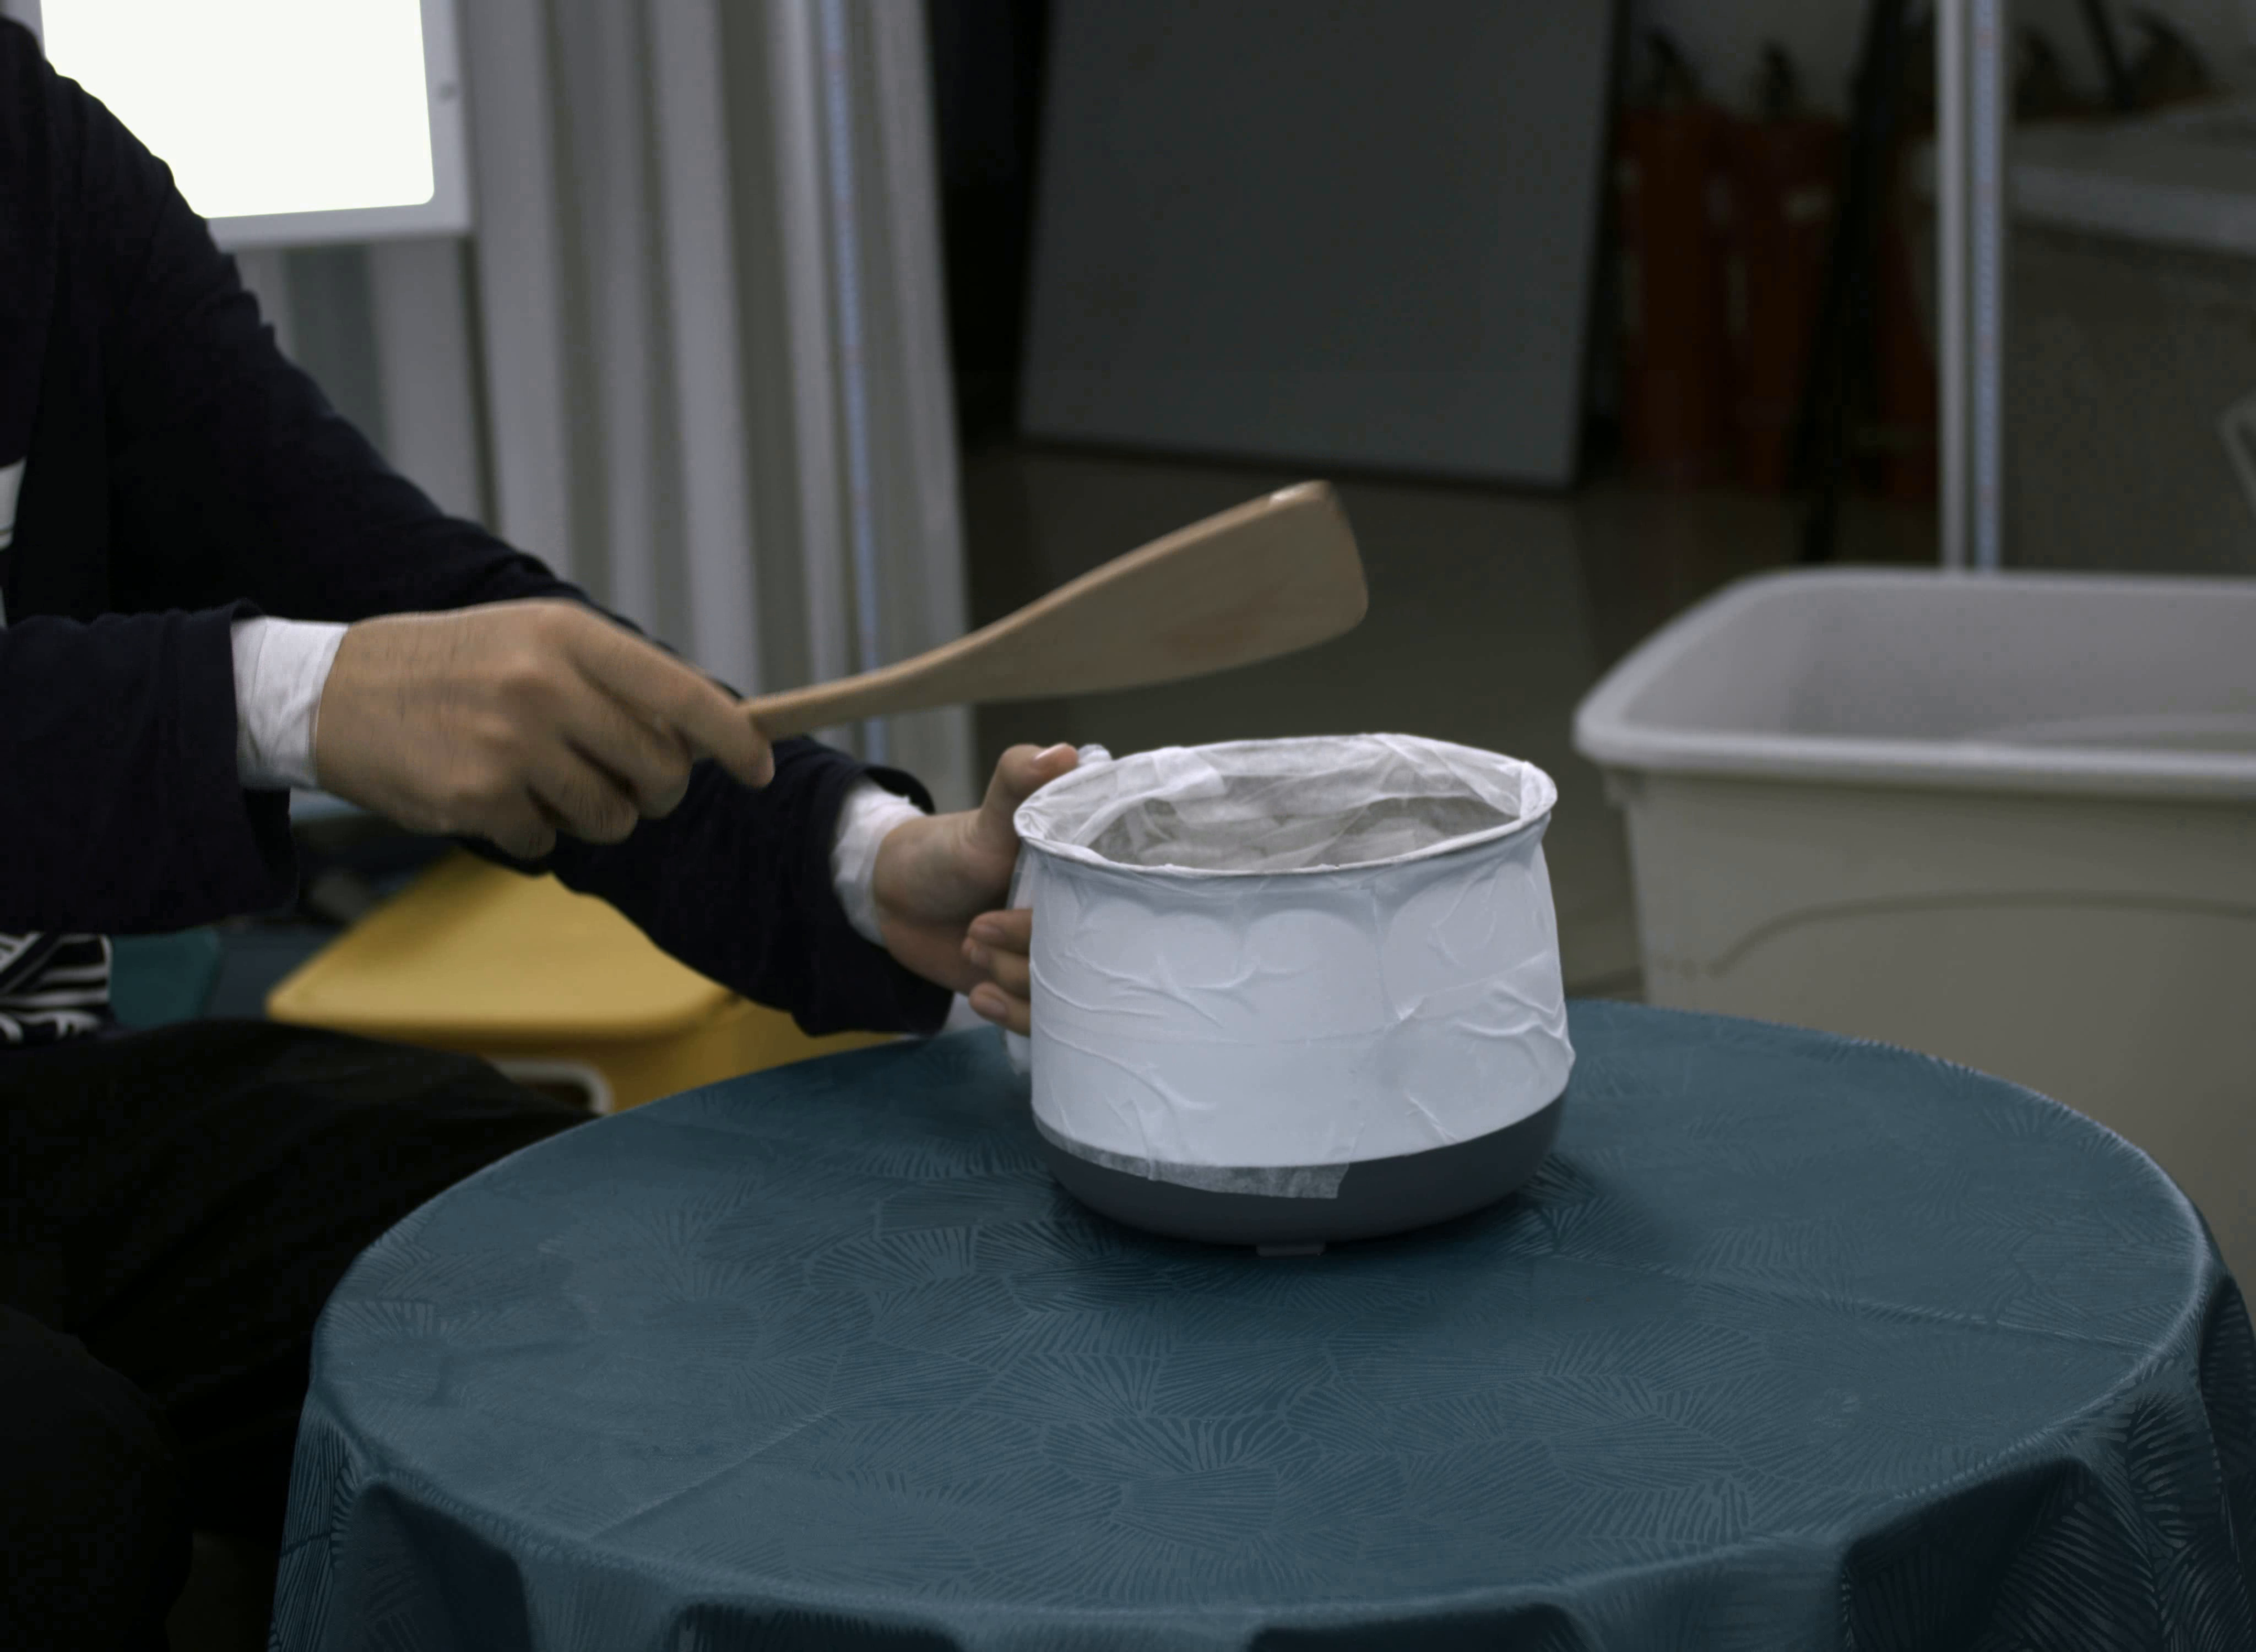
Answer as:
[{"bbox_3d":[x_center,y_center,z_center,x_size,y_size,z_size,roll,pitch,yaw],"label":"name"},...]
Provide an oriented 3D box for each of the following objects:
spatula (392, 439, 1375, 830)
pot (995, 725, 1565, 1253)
[{"bbox_3d":[-0.076,-0.048,1.637,0.327,0.017,0.079,-15,-35,18],"label":"spatula"},{"bbox_3d":[0.036,0.046,1.767,0.175,0.138,0.236,-13,18,-39],"label":"pot"}]
